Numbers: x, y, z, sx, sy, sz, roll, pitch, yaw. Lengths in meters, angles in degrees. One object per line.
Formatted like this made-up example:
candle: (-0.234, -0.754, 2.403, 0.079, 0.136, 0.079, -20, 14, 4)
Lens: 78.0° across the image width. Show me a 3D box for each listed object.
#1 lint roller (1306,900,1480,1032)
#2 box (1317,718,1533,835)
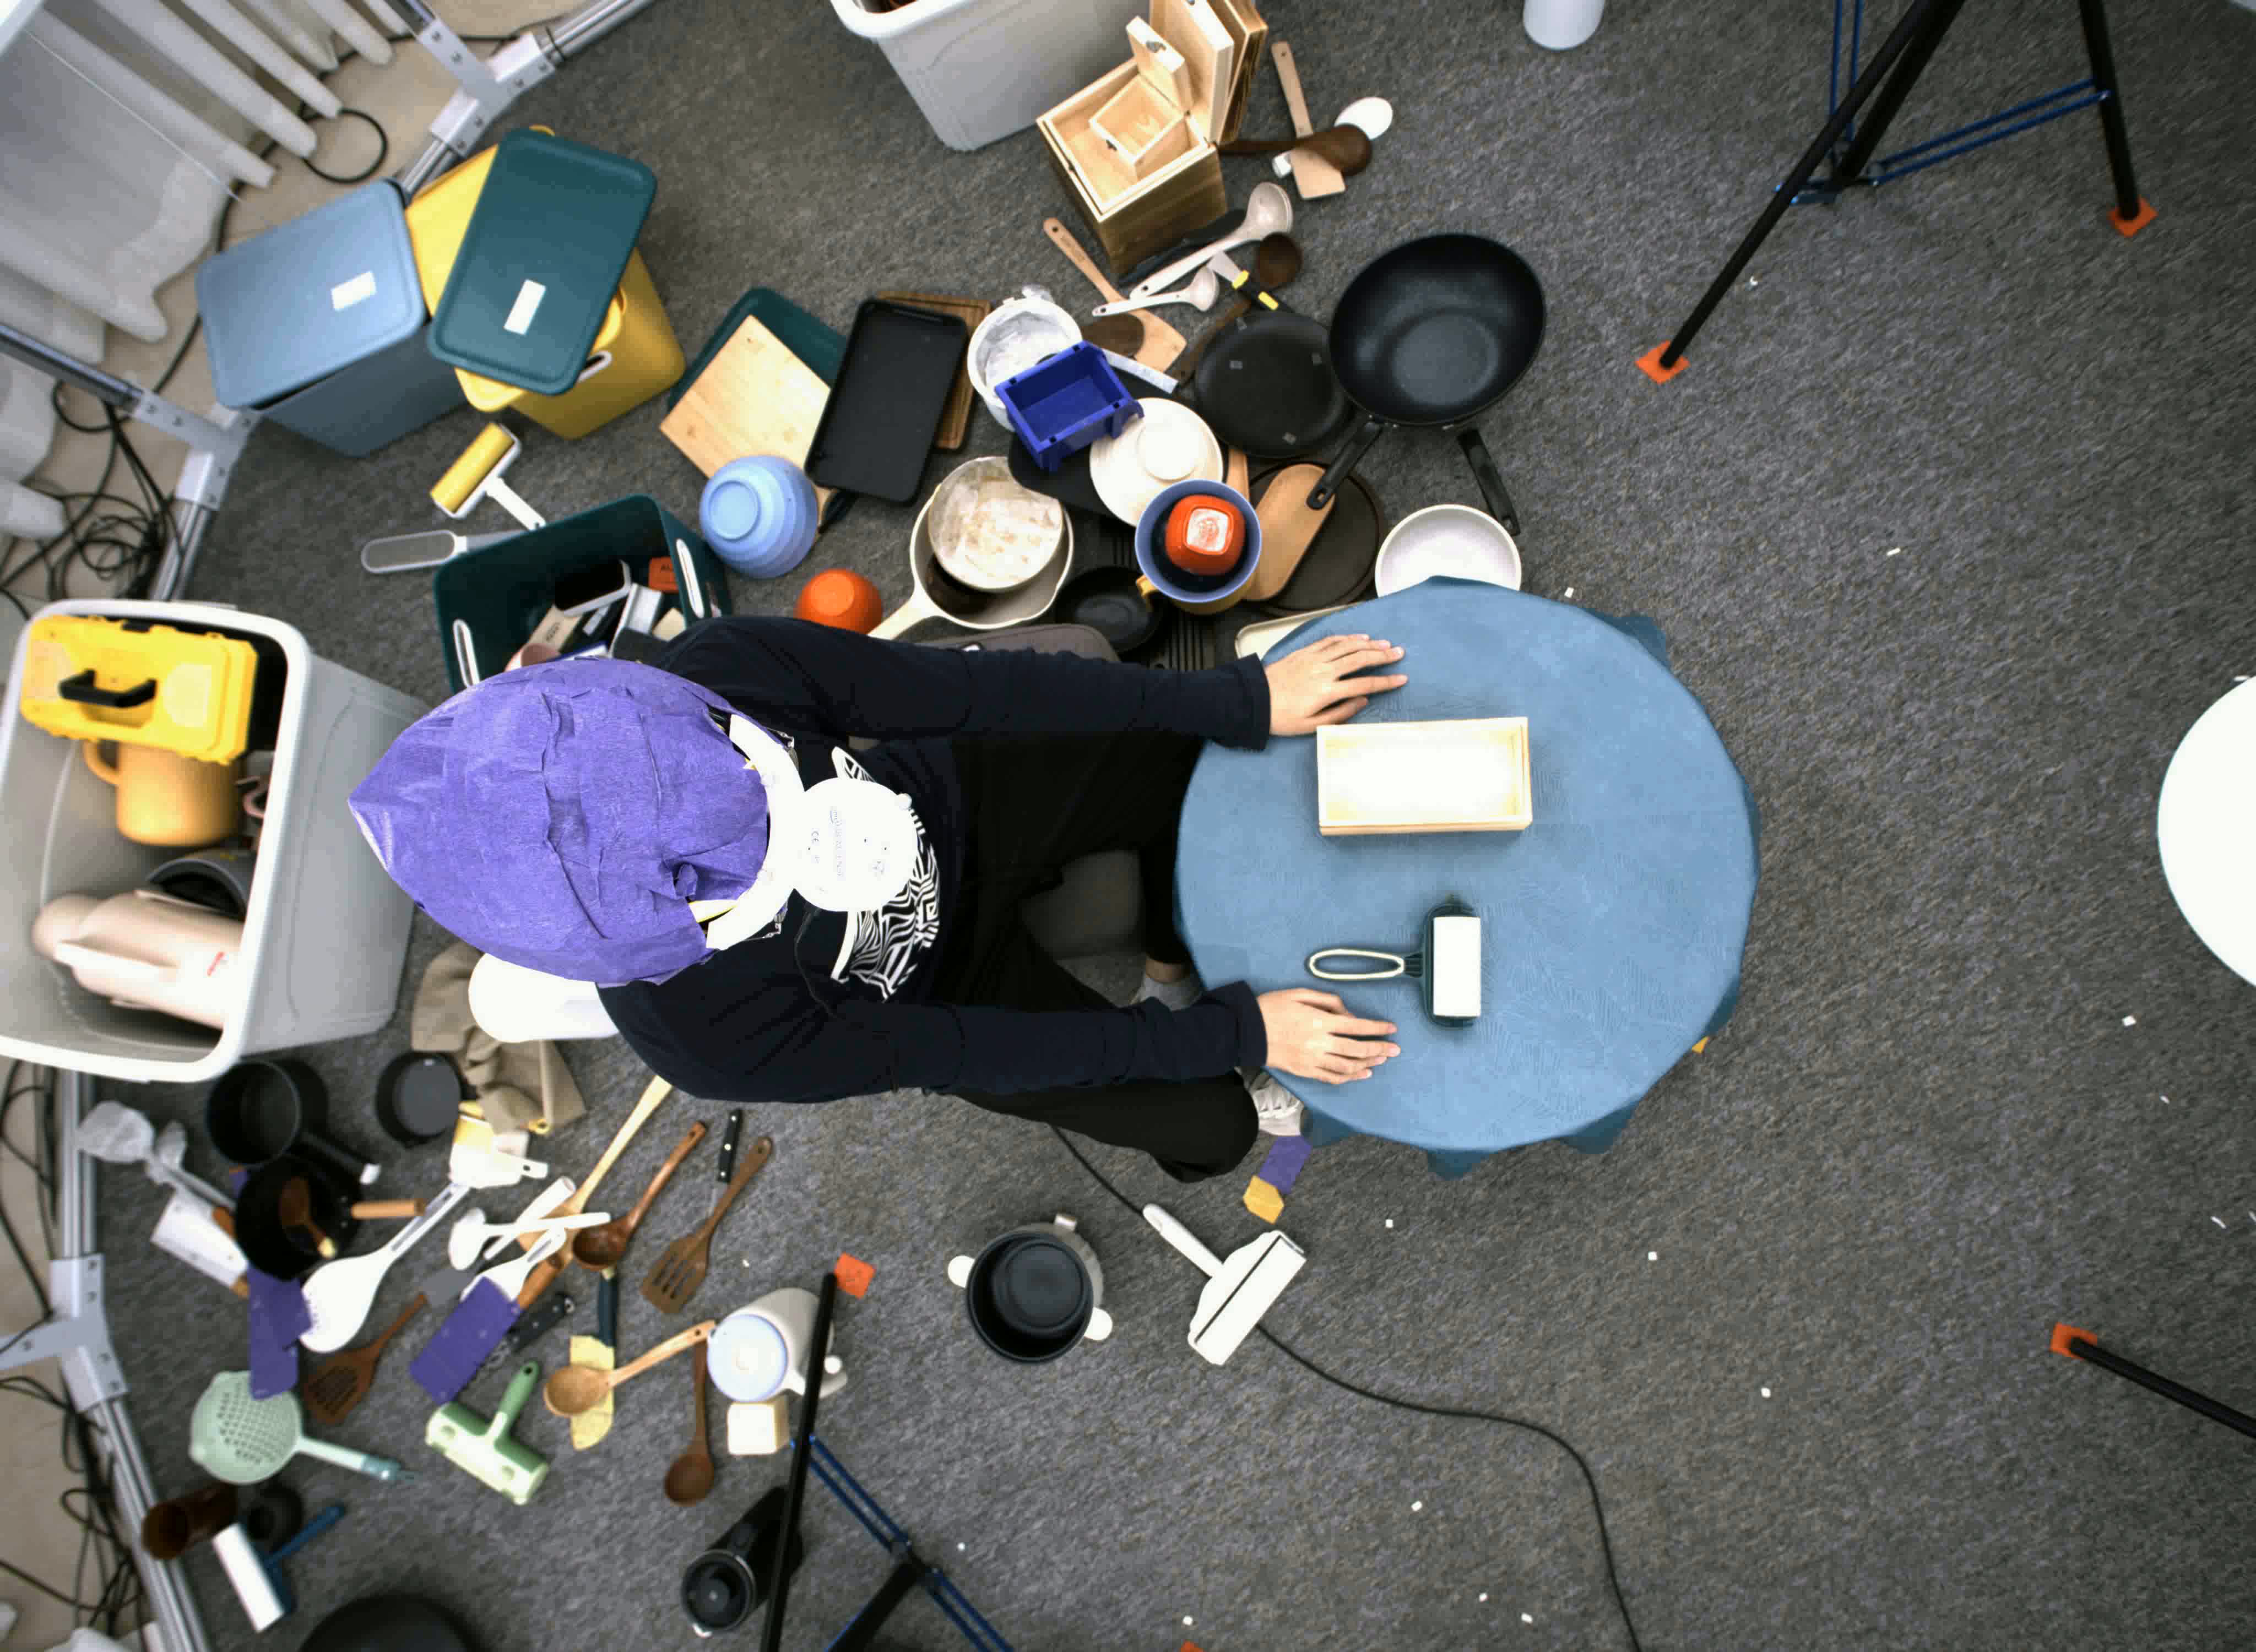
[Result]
lint roller: (0.273, 0.144, 1.435, 0.181, 0.048, 0.133, -1, 86, 14)
box: (0.304, -0.051, 1.420, 0.212, 0.080, 0.107, -3, 86, 12)
